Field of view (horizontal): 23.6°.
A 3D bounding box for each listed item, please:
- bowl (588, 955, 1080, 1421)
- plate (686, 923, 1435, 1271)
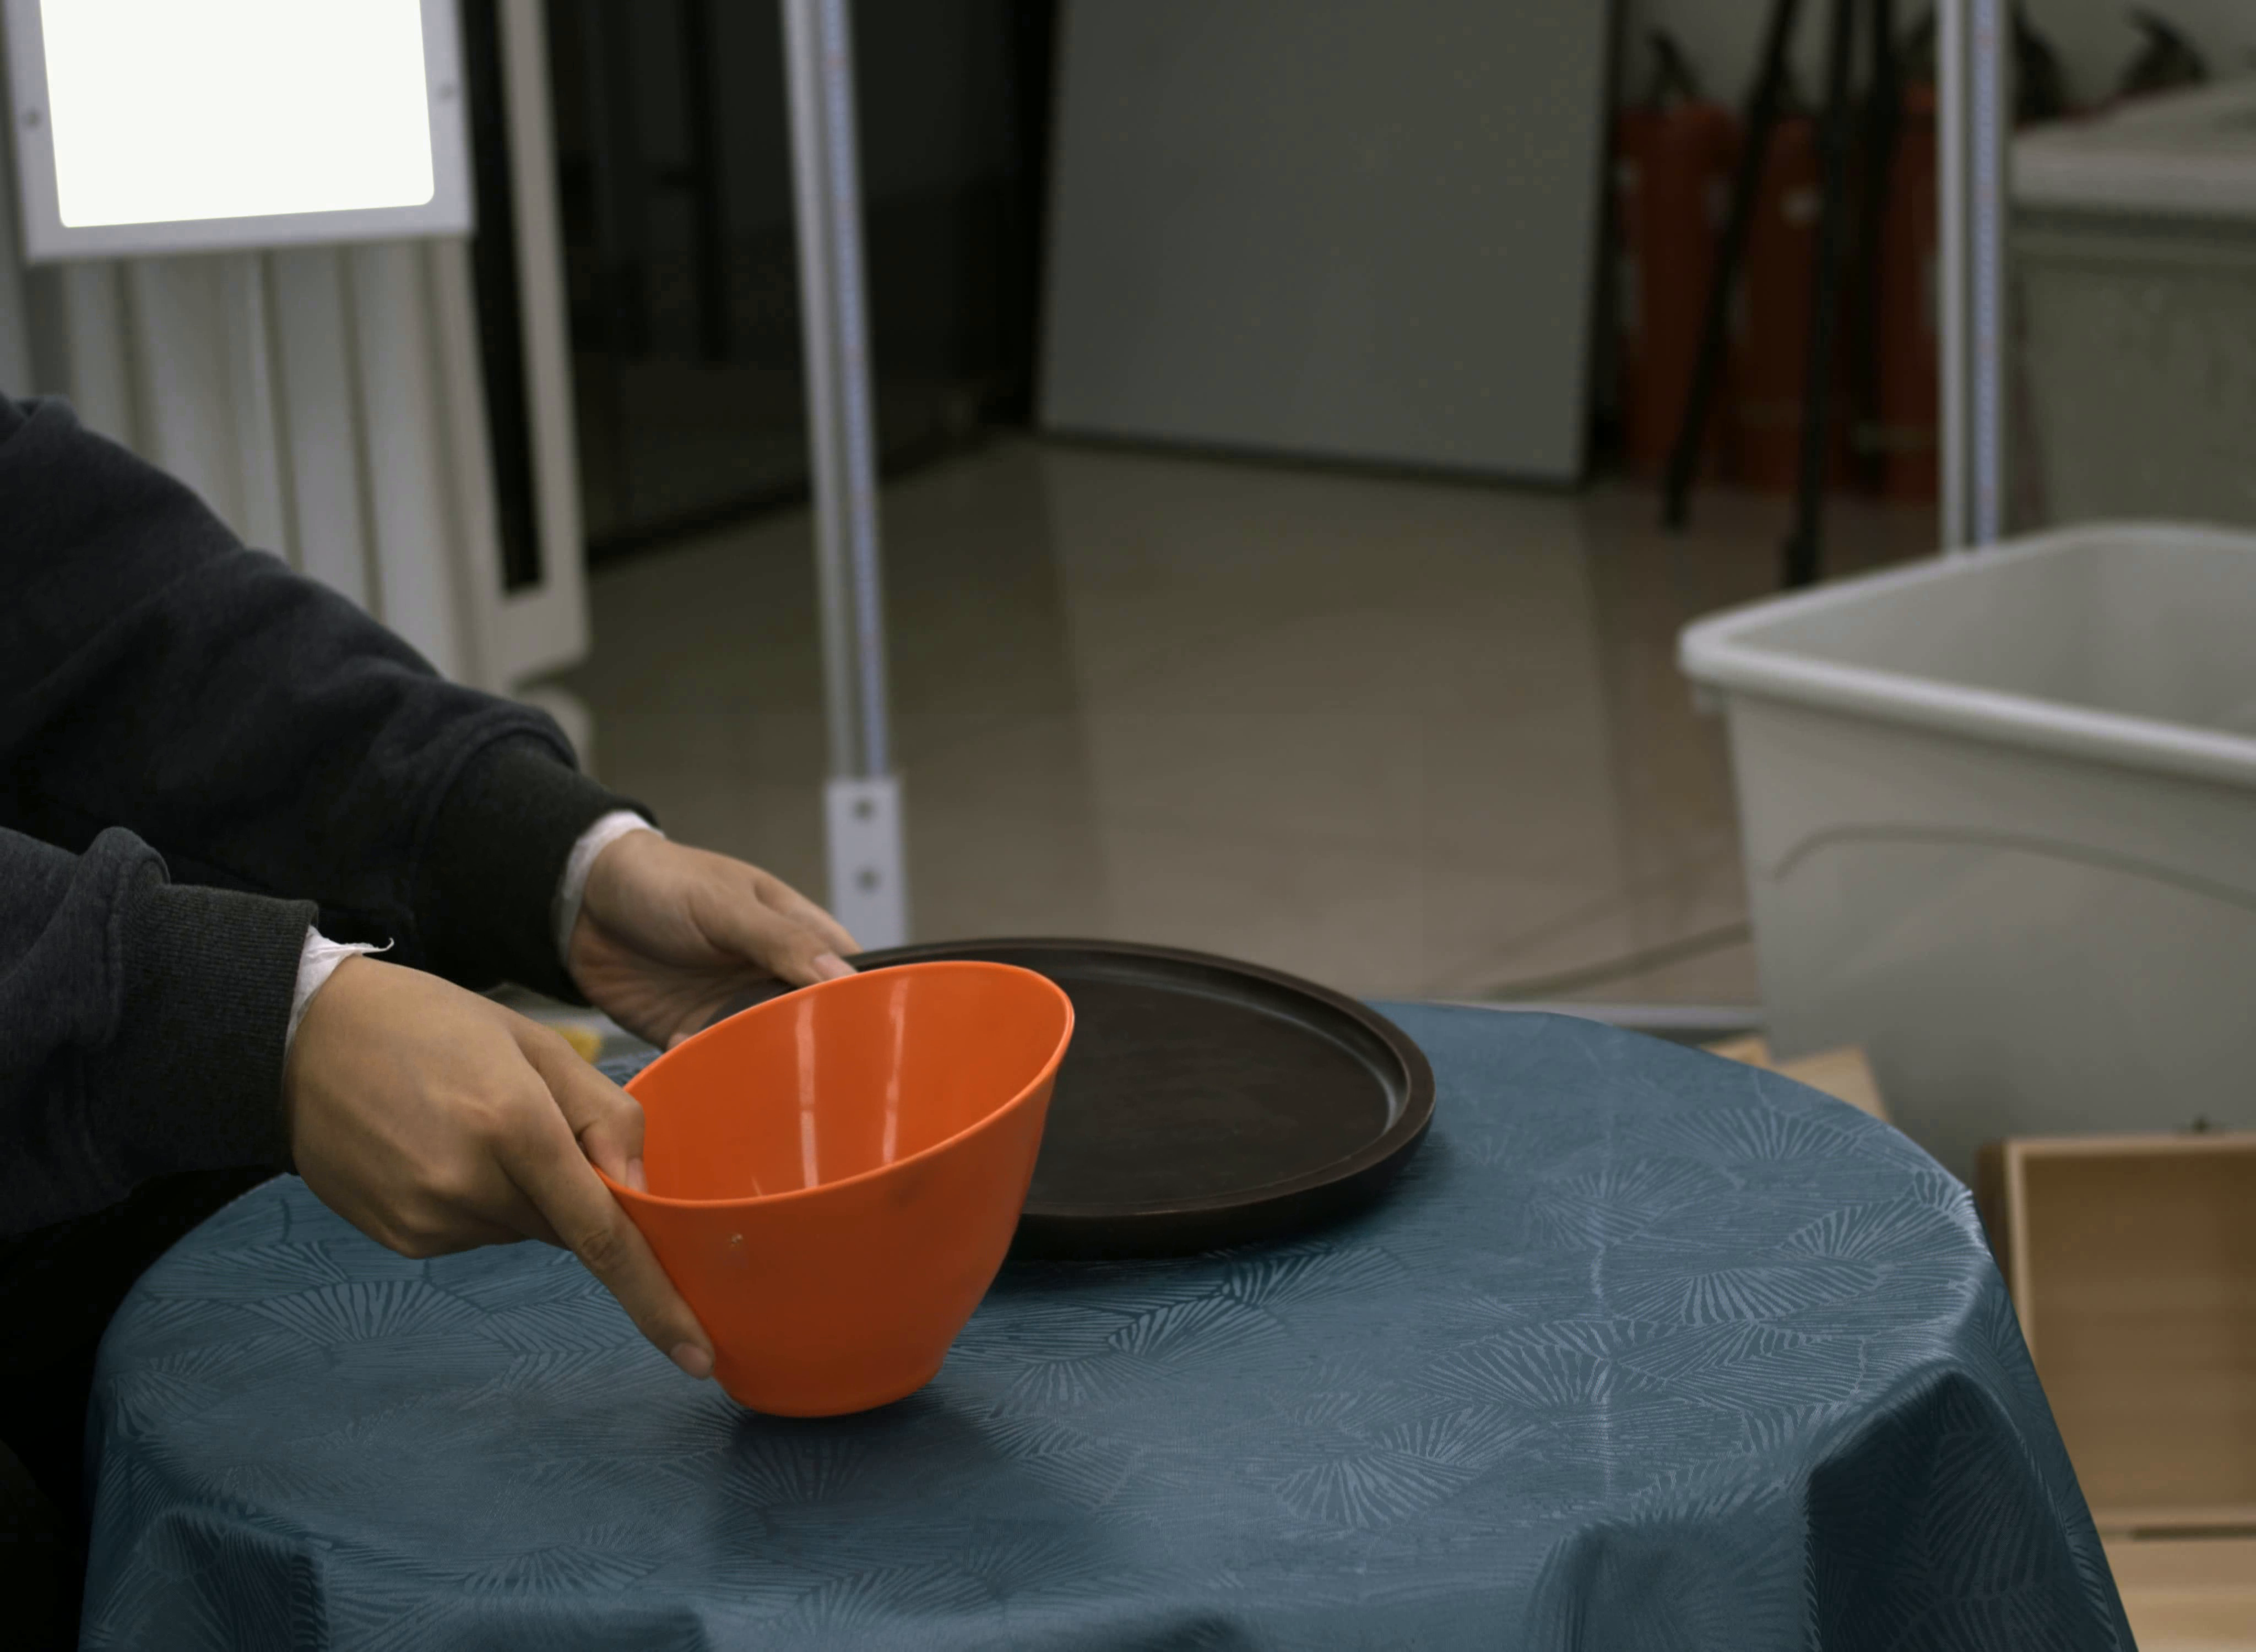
[{"bbox_3d":[-0.081,0.110,1.578,0.146,0.105,0.148,-6,19,1],"label":"bowl"},{"bbox_3d":[-0.023,0.091,1.792,0.251,0.029,0.255,1,20,-1],"label":"plate"}]
